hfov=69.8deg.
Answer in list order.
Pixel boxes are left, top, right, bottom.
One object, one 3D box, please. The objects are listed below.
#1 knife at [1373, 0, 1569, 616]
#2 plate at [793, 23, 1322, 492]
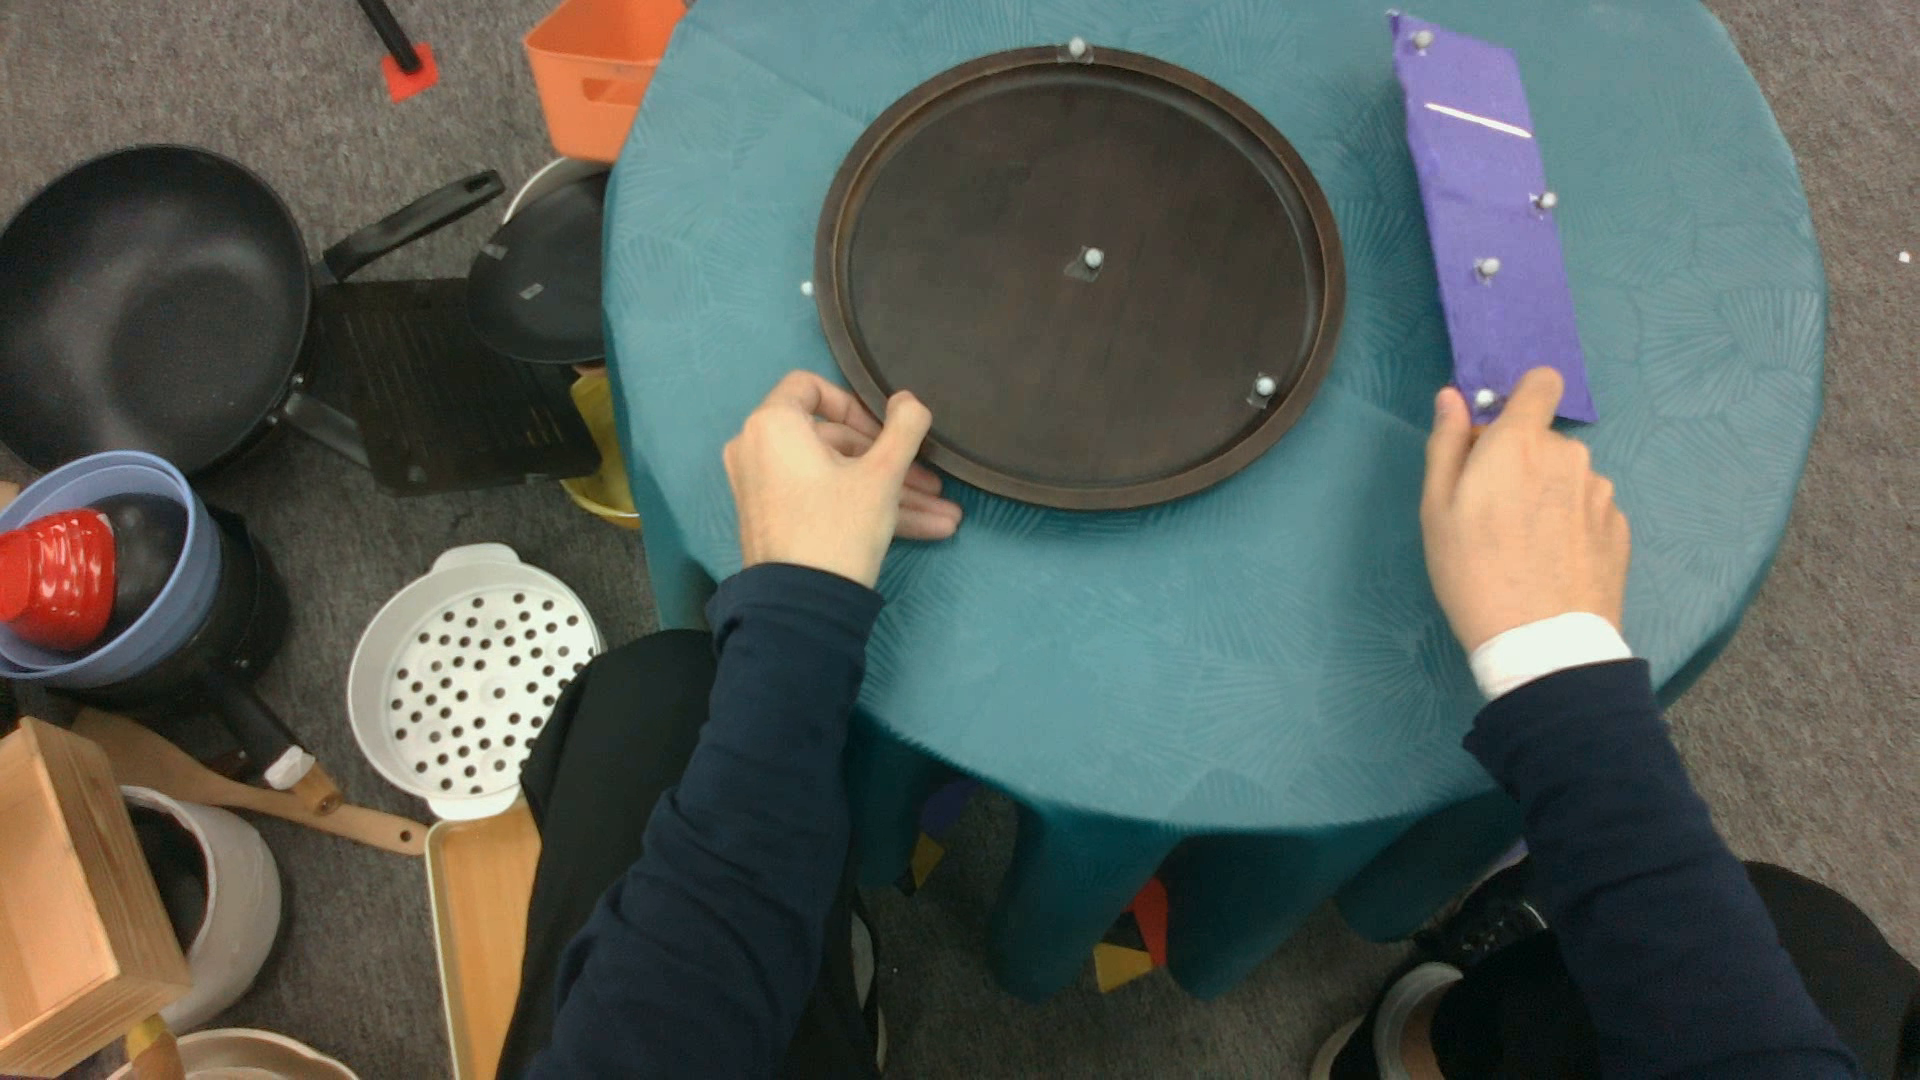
[{"bbox_3d":[0.248,-0.118,0.642,0.104,0.032,0.316,8,71,-32],"label":"knife"},{"bbox_3d":[0.047,-0.139,0.661,0.255,0.029,0.255,1,69,-3],"label":"plate"}]
